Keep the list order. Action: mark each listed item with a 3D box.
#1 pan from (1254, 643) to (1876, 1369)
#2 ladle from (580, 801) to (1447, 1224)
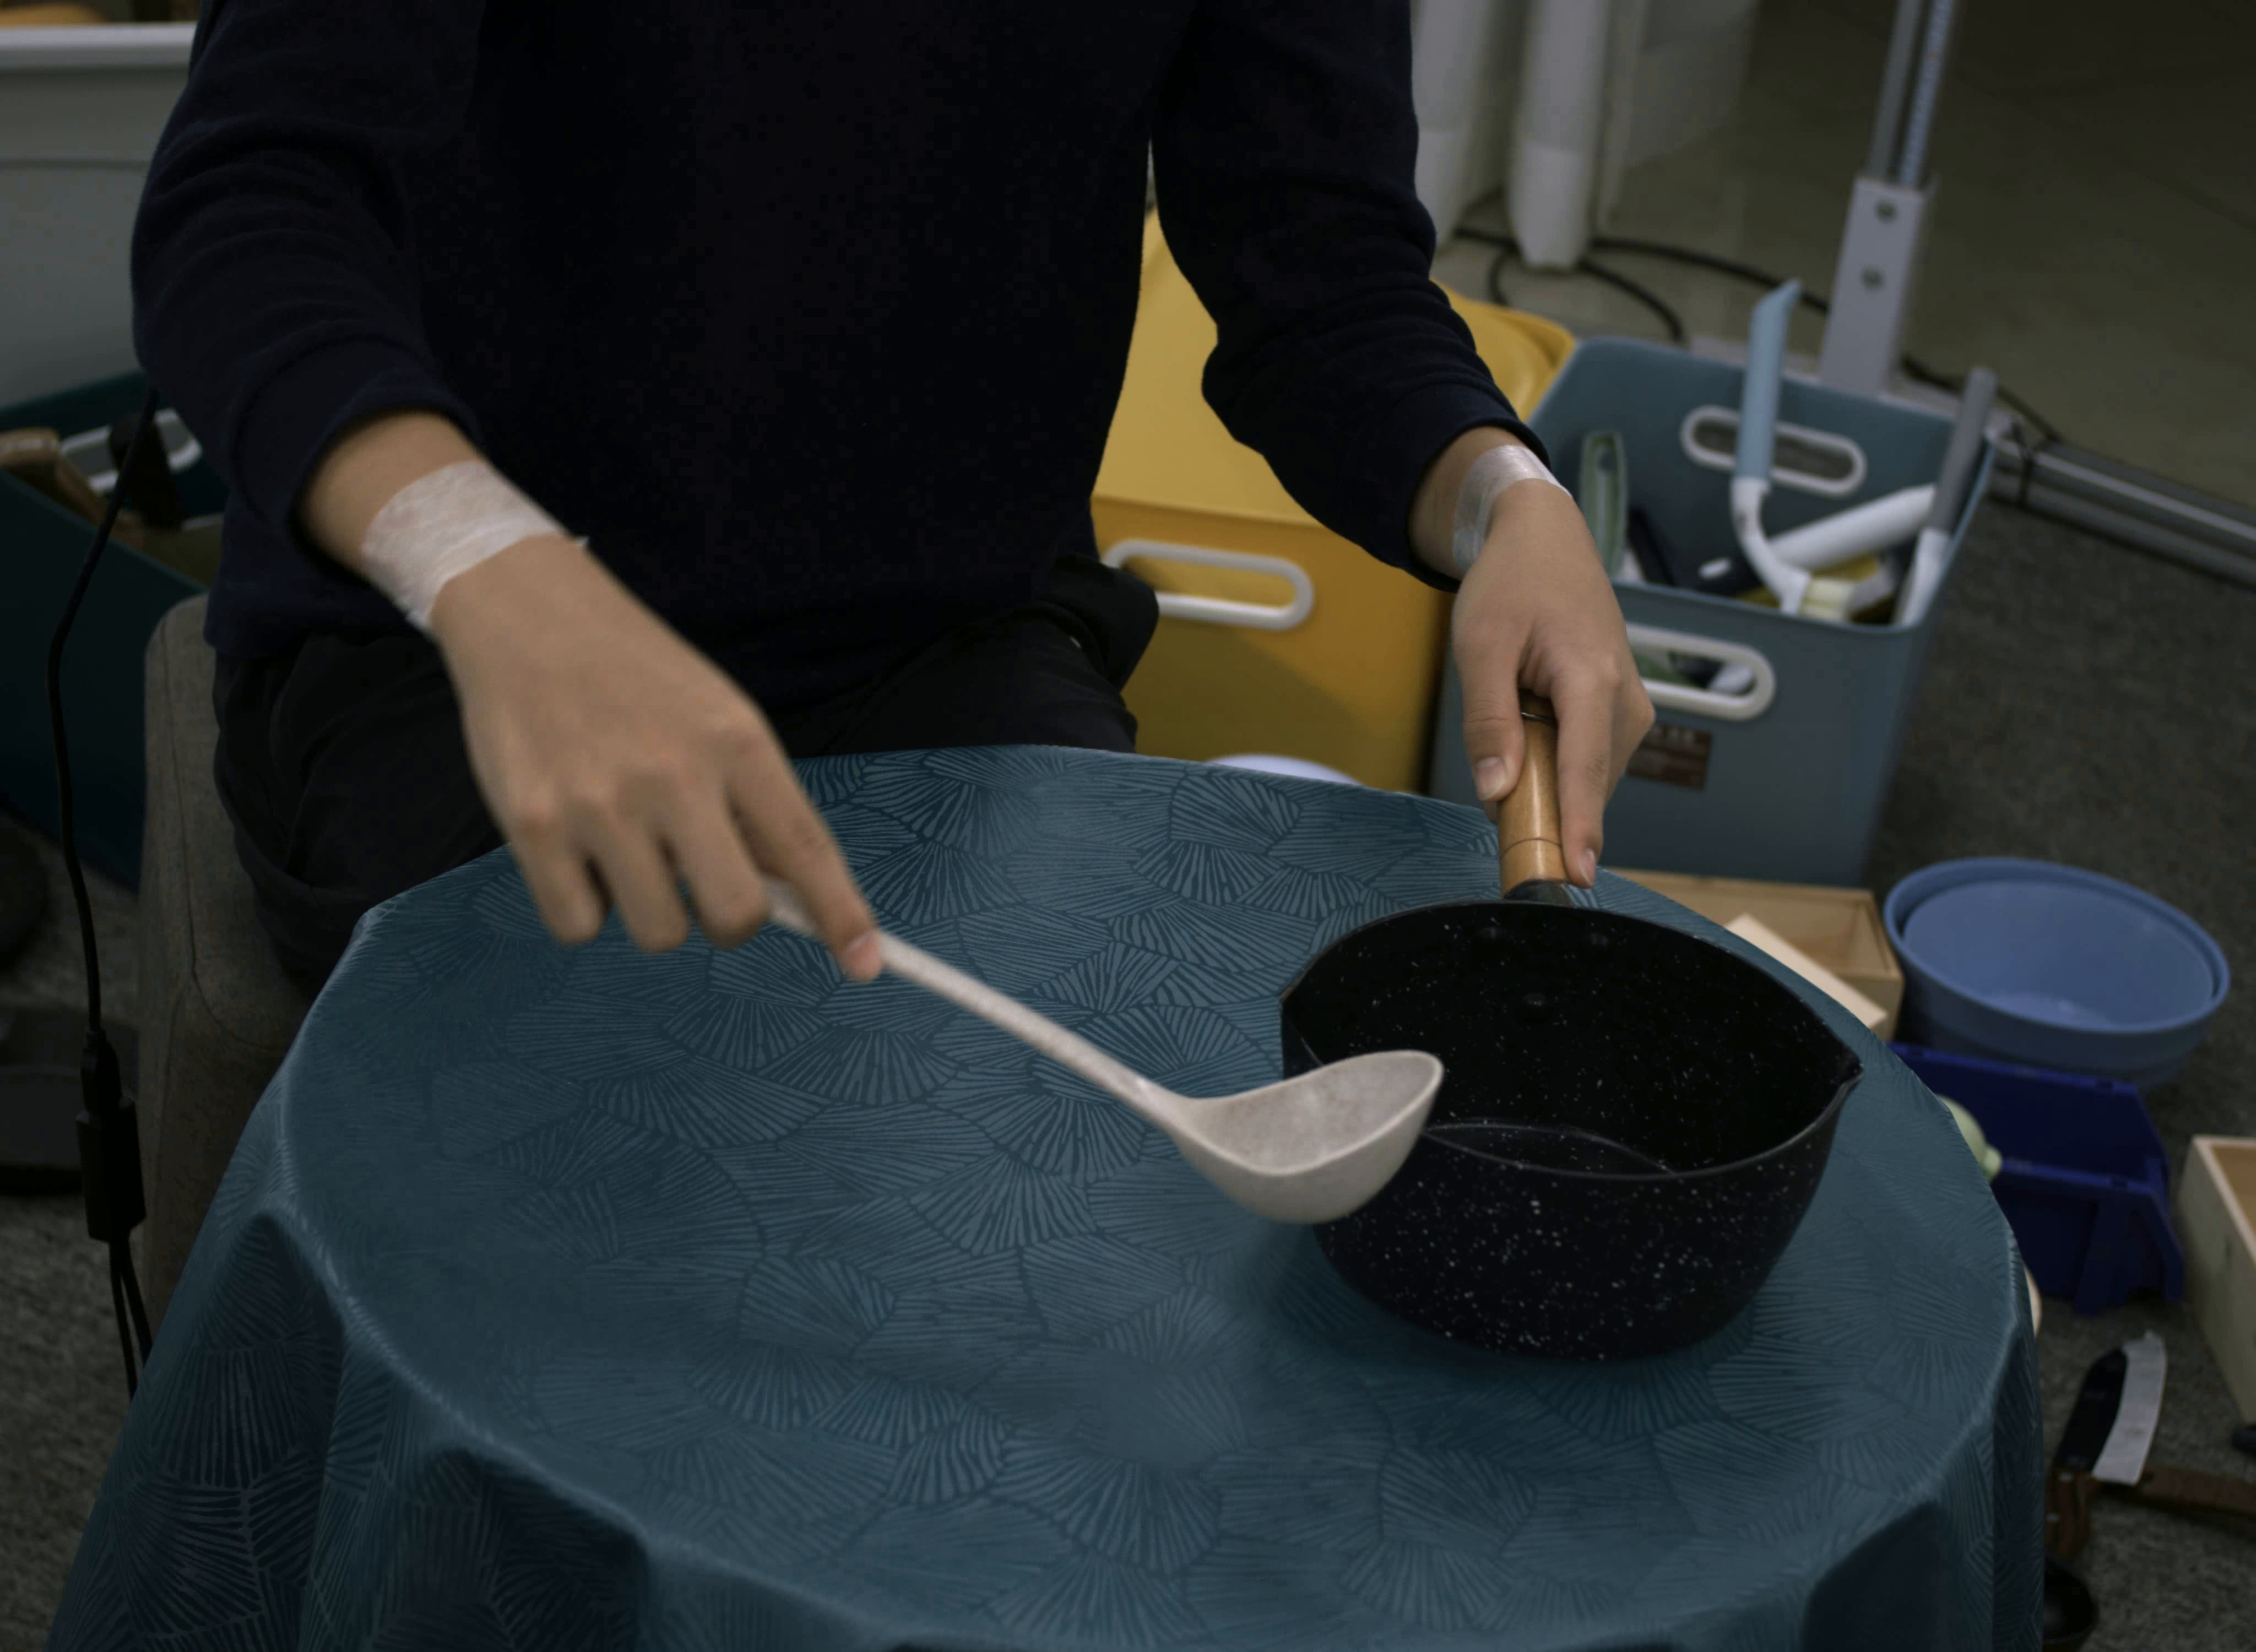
[{"bbox_3d":[0.140,0.058,1.844,0.207,0.108,0.345,4,28,-3],"label":"pan"},{"bbox_3d":[-0.034,0.037,1.634,0.274,0.069,0.089,30,19,-4],"label":"ladle"}]
